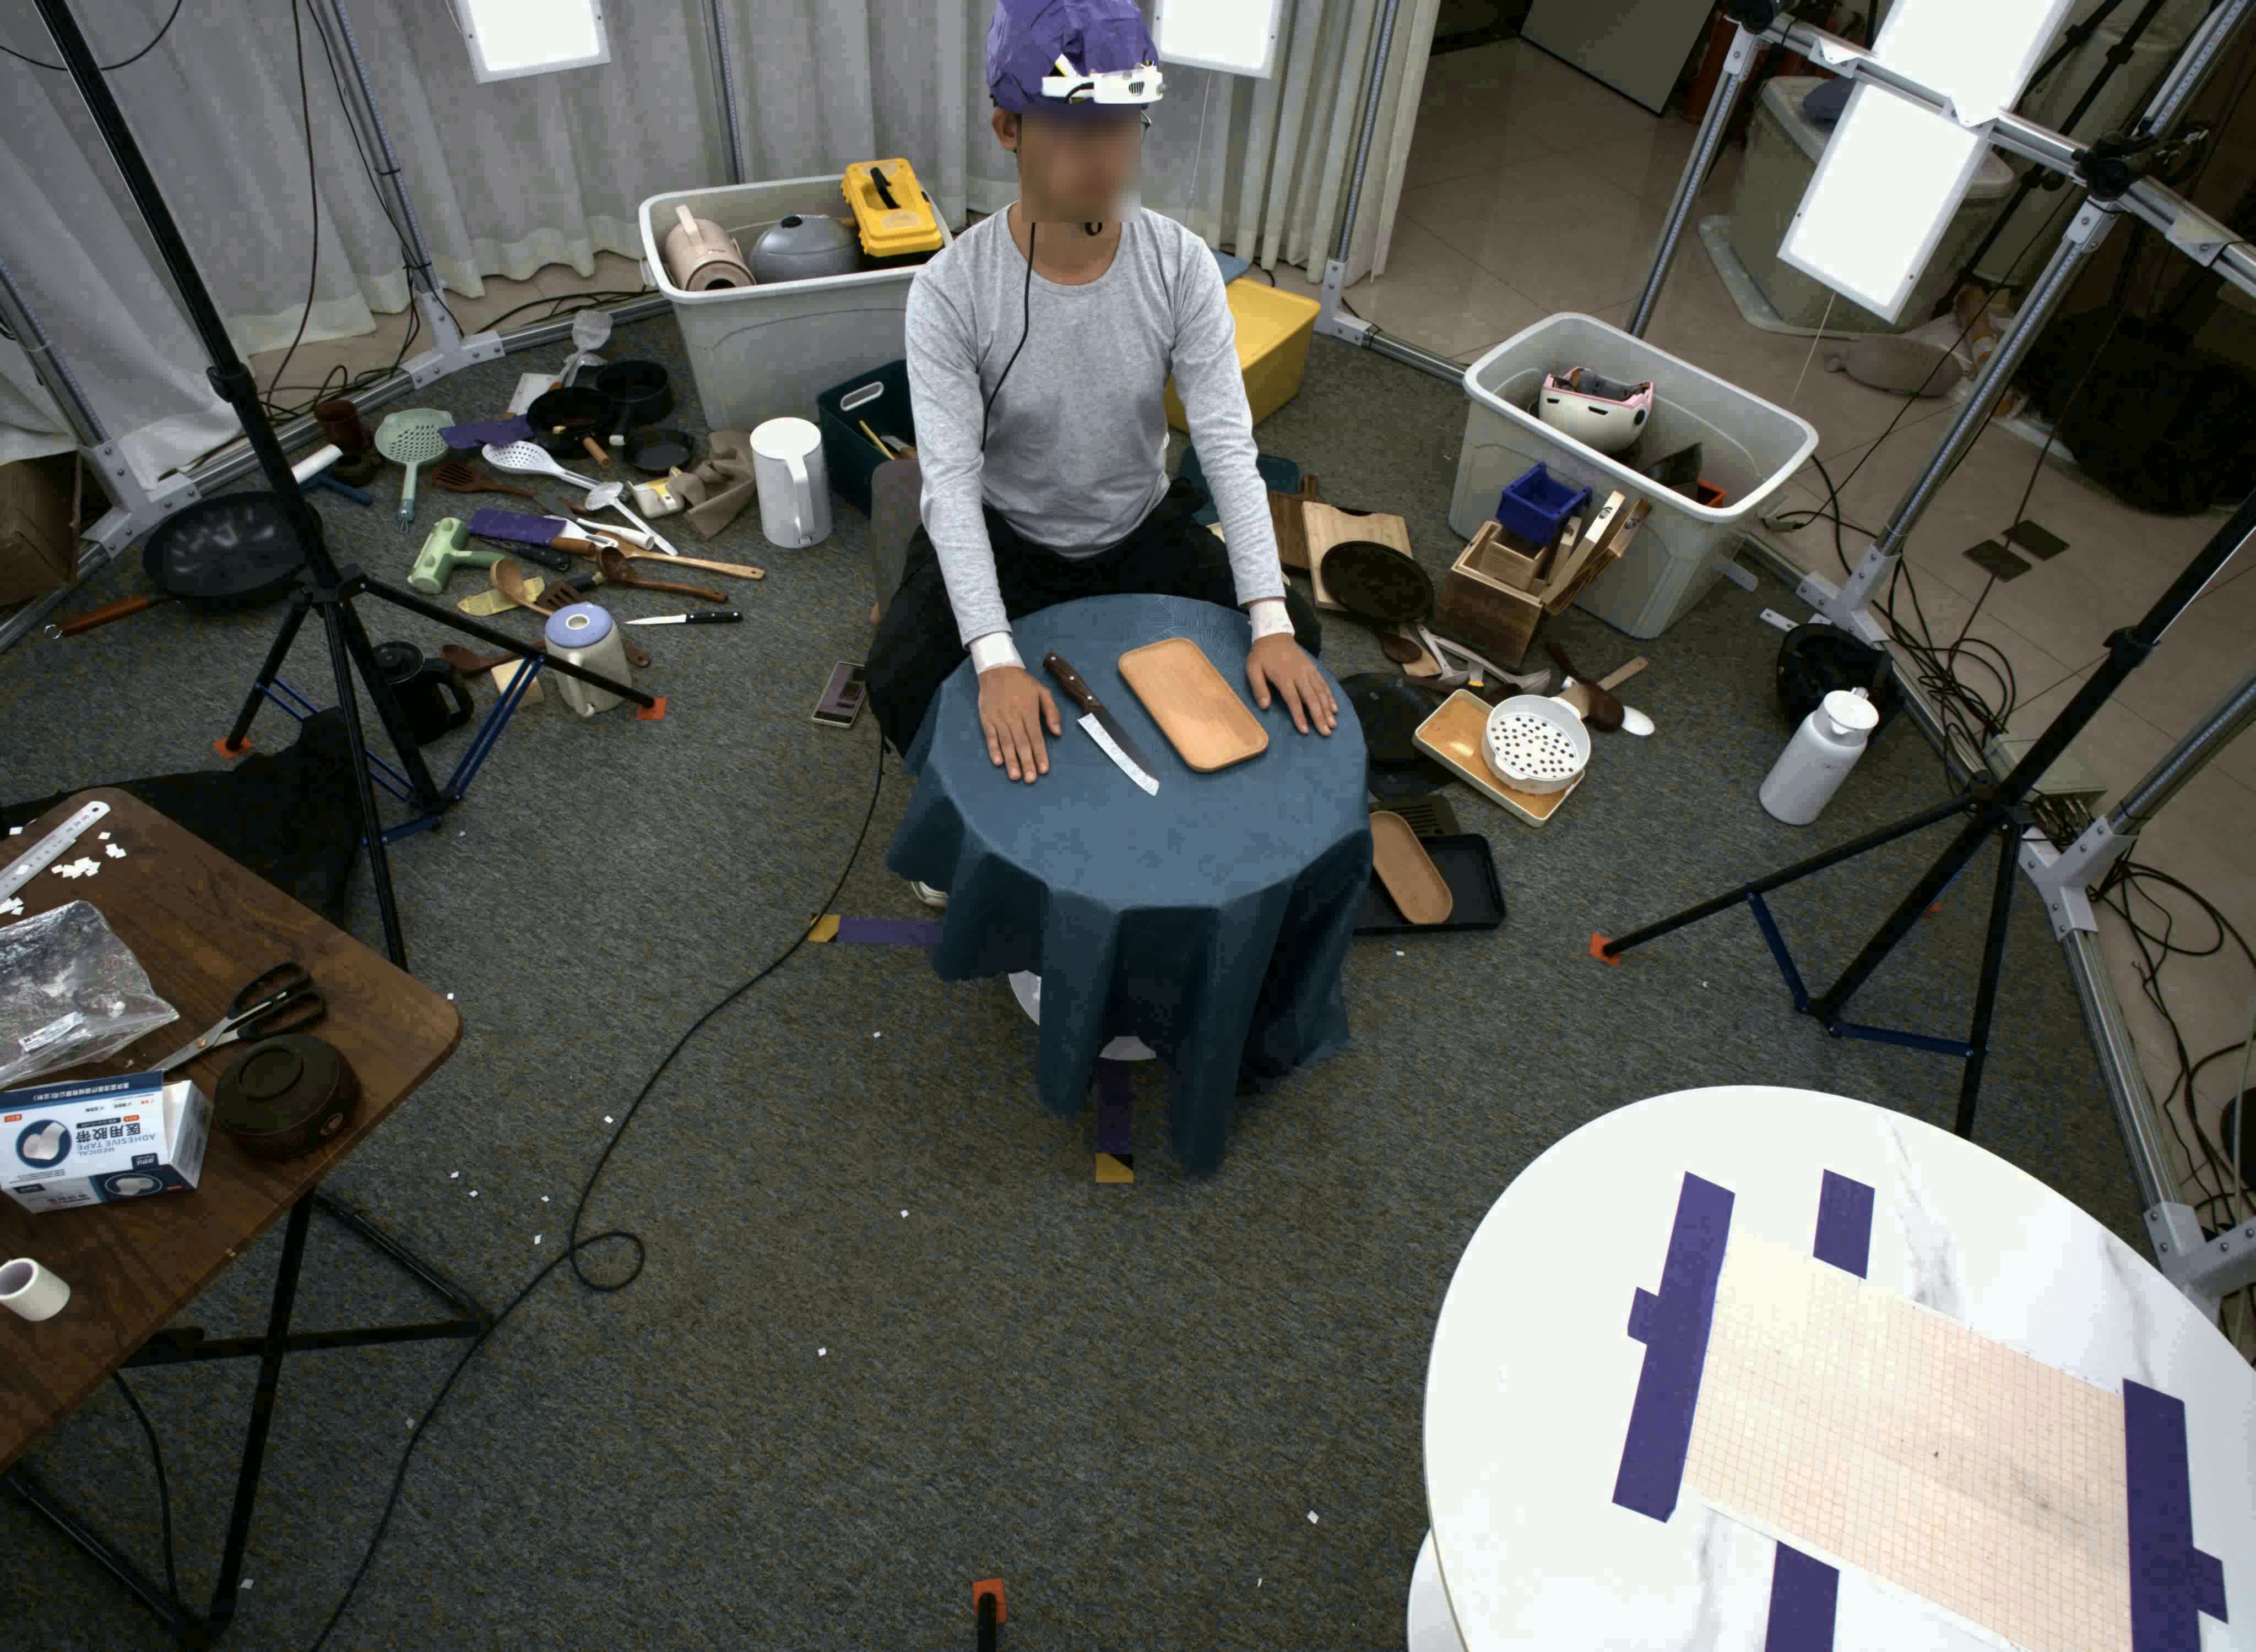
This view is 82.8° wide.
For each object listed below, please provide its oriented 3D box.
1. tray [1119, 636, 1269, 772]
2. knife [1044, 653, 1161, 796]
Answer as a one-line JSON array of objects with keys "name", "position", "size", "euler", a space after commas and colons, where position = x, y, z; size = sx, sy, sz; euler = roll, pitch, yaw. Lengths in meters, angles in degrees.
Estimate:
[{"name": "tray", "position": [0.090, -0.175, 1.815], "size": [0.131, 0.022, 0.256], "euler": [-17, 52, -20]}, {"name": "knife", "position": [-0.037, -0.143, 1.780], "size": [0.050, 0.019, 0.295], "euler": [-26, 58, -18]}]
